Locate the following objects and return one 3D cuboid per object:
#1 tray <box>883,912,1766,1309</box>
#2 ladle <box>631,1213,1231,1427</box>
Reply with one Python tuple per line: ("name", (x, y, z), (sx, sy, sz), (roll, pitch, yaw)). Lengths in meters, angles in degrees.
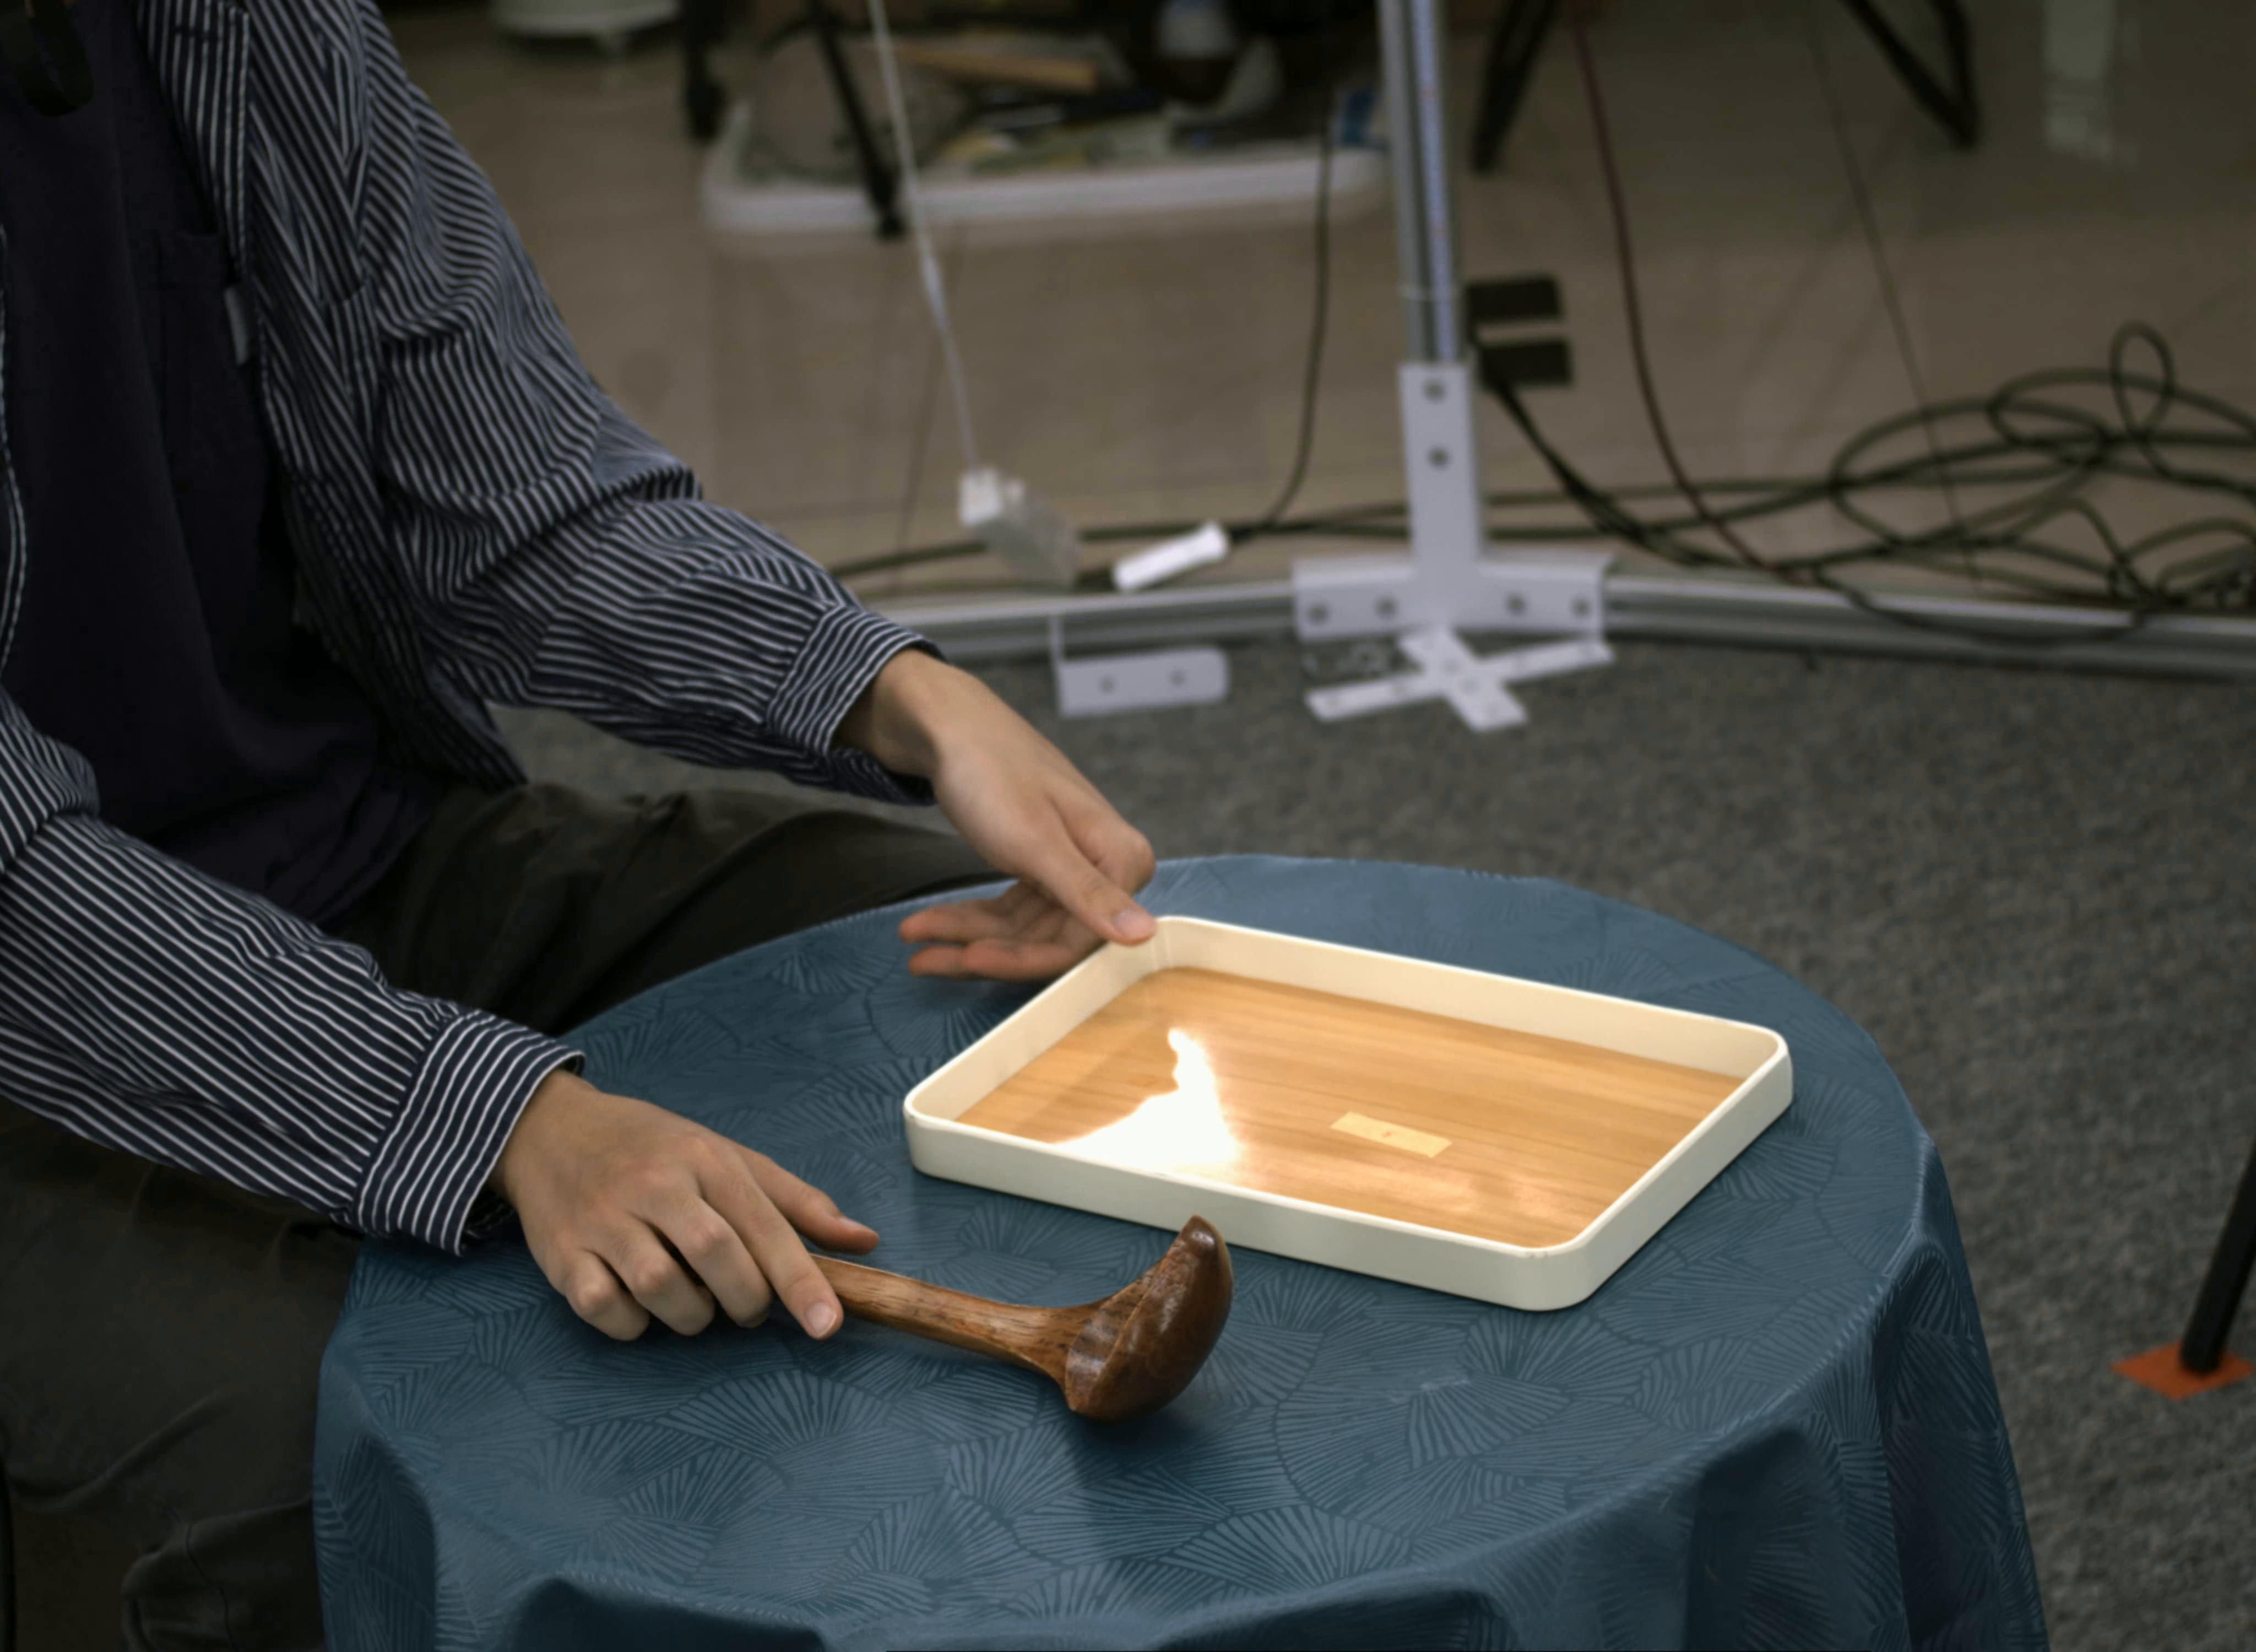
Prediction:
("tray", (0.075, 0.105, 2.176), (0.299, 0.028, 0.189), (11, 30, 33))
("ladle", (-0.081, 0.158, 2.042), (0.272, 0.078, 0.081), (12, 49, 32))
